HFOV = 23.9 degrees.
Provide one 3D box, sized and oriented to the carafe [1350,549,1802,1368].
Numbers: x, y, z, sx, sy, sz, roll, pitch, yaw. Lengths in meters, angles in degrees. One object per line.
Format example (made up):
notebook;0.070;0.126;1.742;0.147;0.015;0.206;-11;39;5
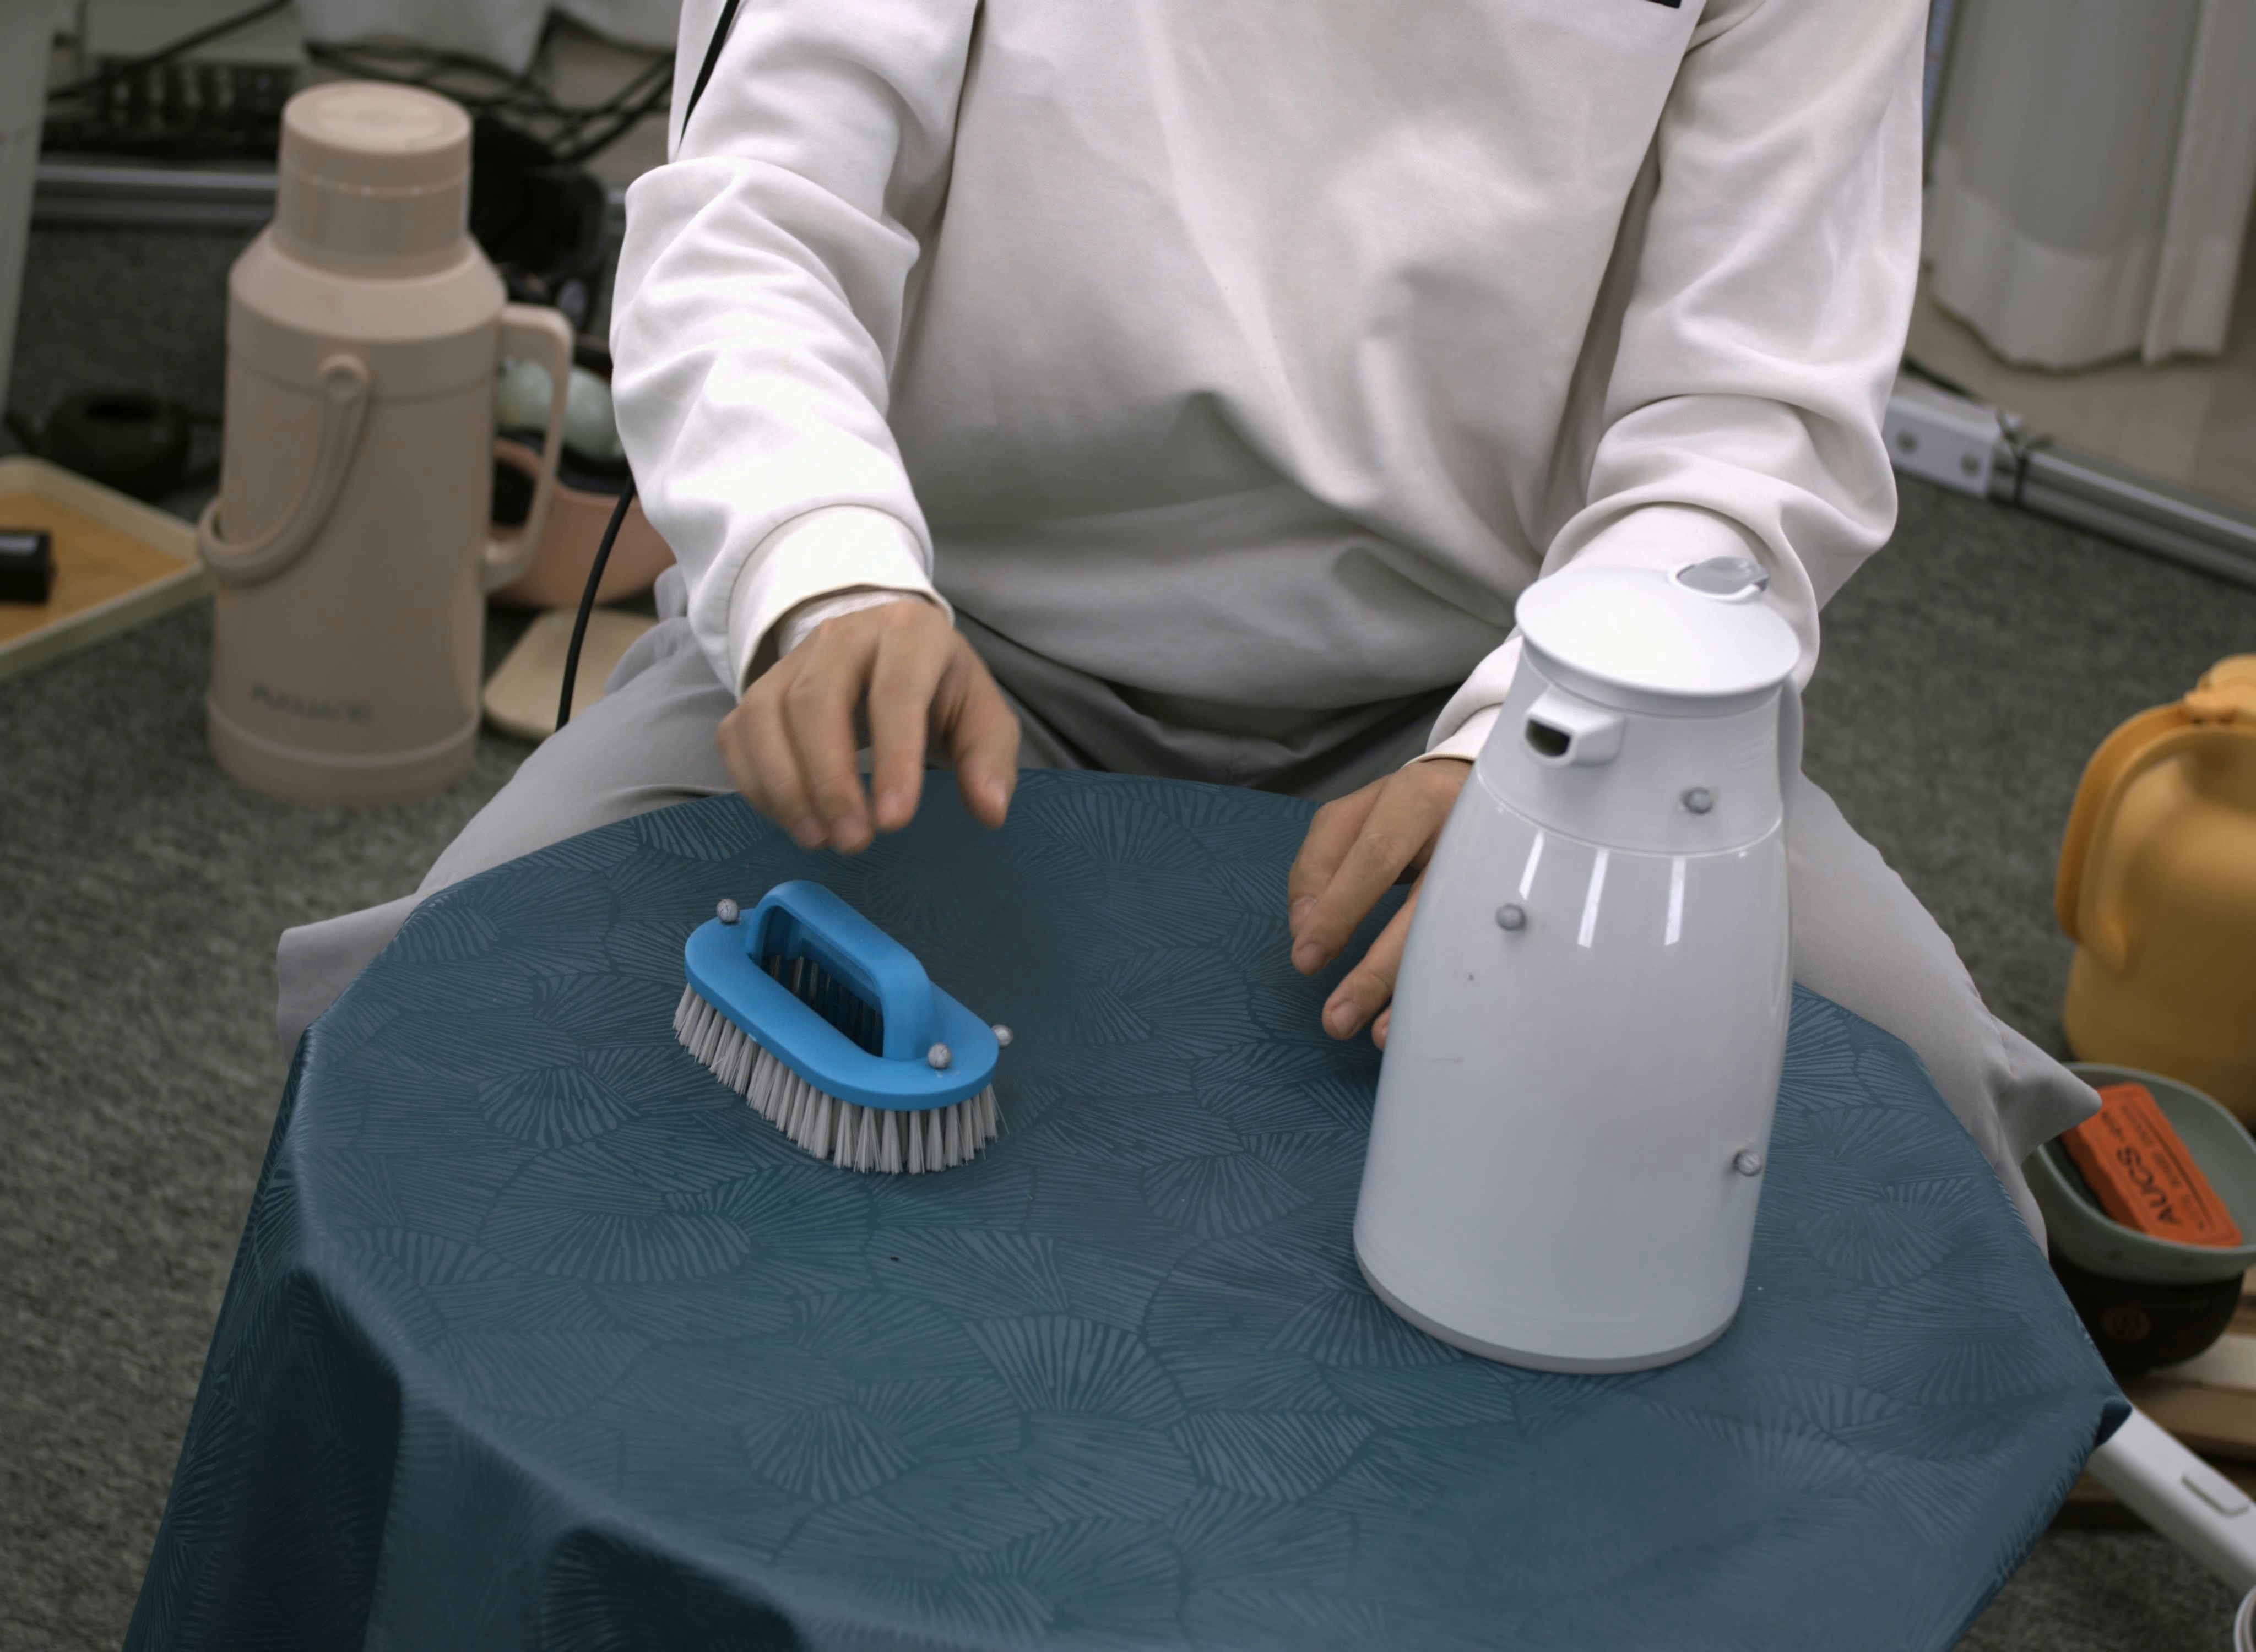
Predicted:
carafe;0.164;0.031;1.750;0.133;0.248;0.167;22;29;28

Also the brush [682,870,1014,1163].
brush;-0.099;0.057;1.841;0.084;0.063;0.143;-17;34;-31
